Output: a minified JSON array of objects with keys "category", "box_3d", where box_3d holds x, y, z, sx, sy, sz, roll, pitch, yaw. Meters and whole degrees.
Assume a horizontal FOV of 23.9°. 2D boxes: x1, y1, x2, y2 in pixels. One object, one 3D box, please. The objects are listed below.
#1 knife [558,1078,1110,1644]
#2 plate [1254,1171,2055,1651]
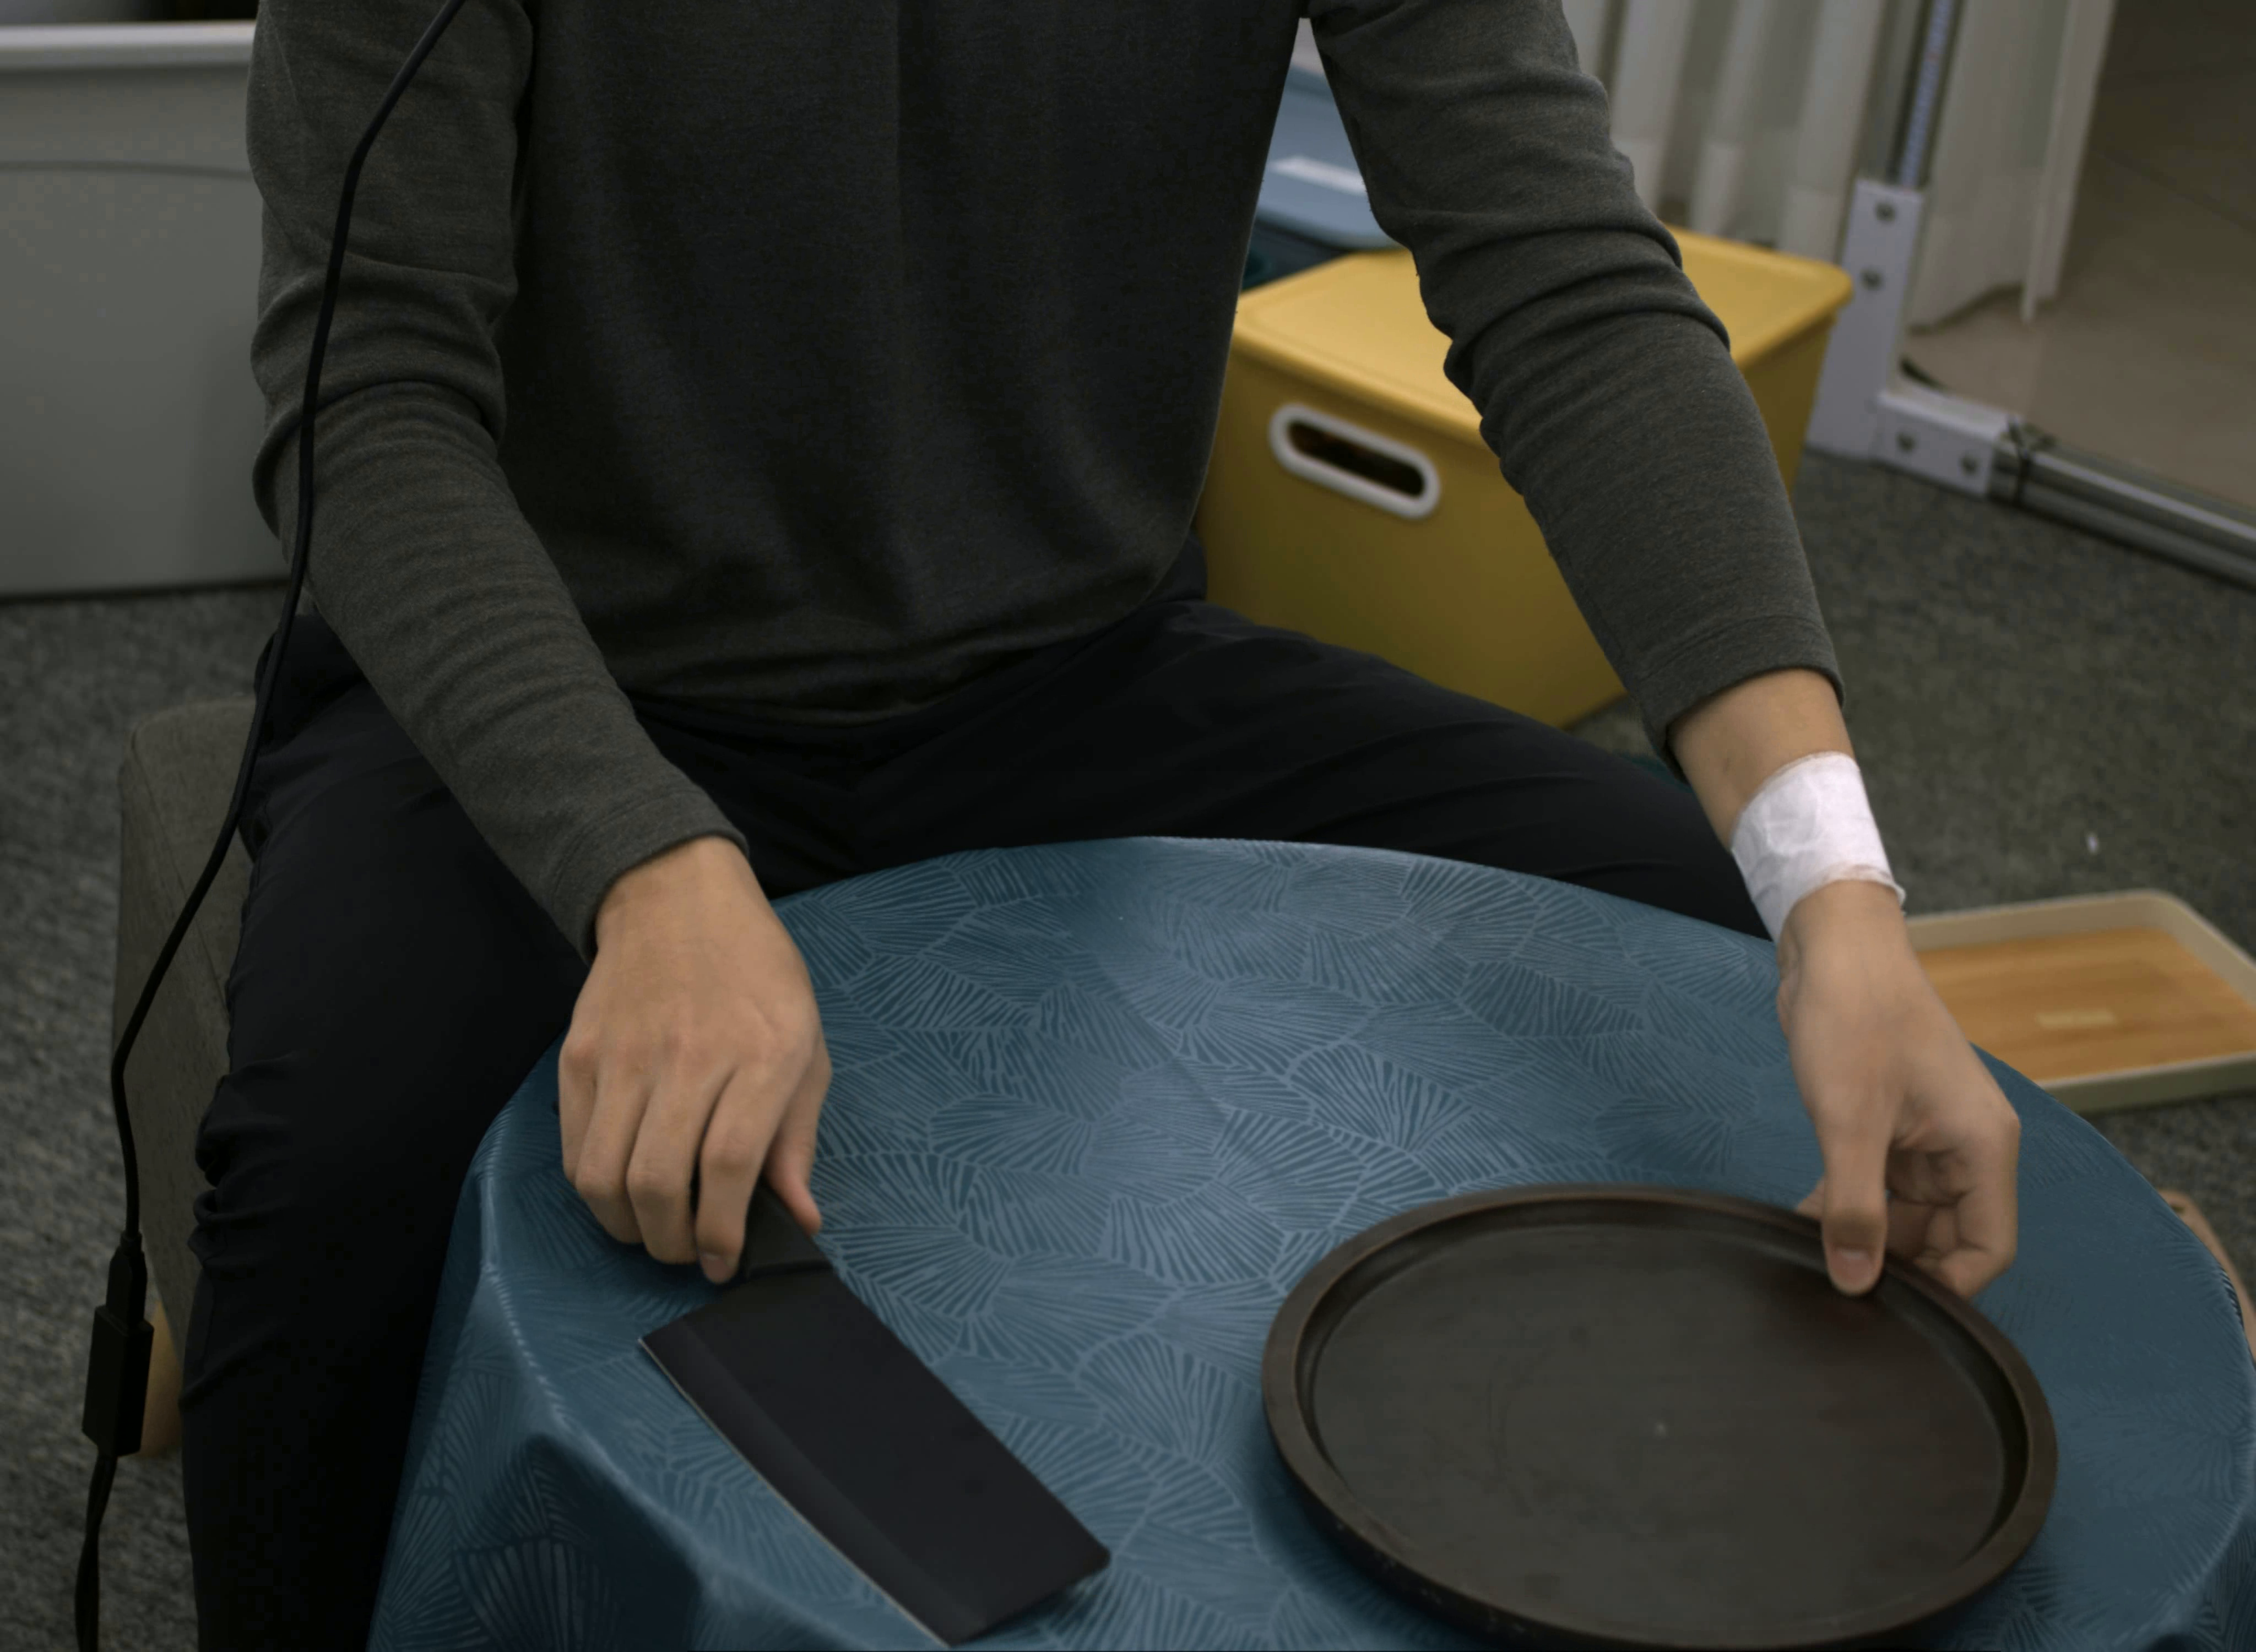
[{"category":"knife","box_3d":[-0.108,0.163,1.679,0.080,0.021,0.305,-21,37,-20]},{"category":"plate","box_3d":[0.164,0.190,1.675,0.254,0.029,0.256,2,30,-2]}]
